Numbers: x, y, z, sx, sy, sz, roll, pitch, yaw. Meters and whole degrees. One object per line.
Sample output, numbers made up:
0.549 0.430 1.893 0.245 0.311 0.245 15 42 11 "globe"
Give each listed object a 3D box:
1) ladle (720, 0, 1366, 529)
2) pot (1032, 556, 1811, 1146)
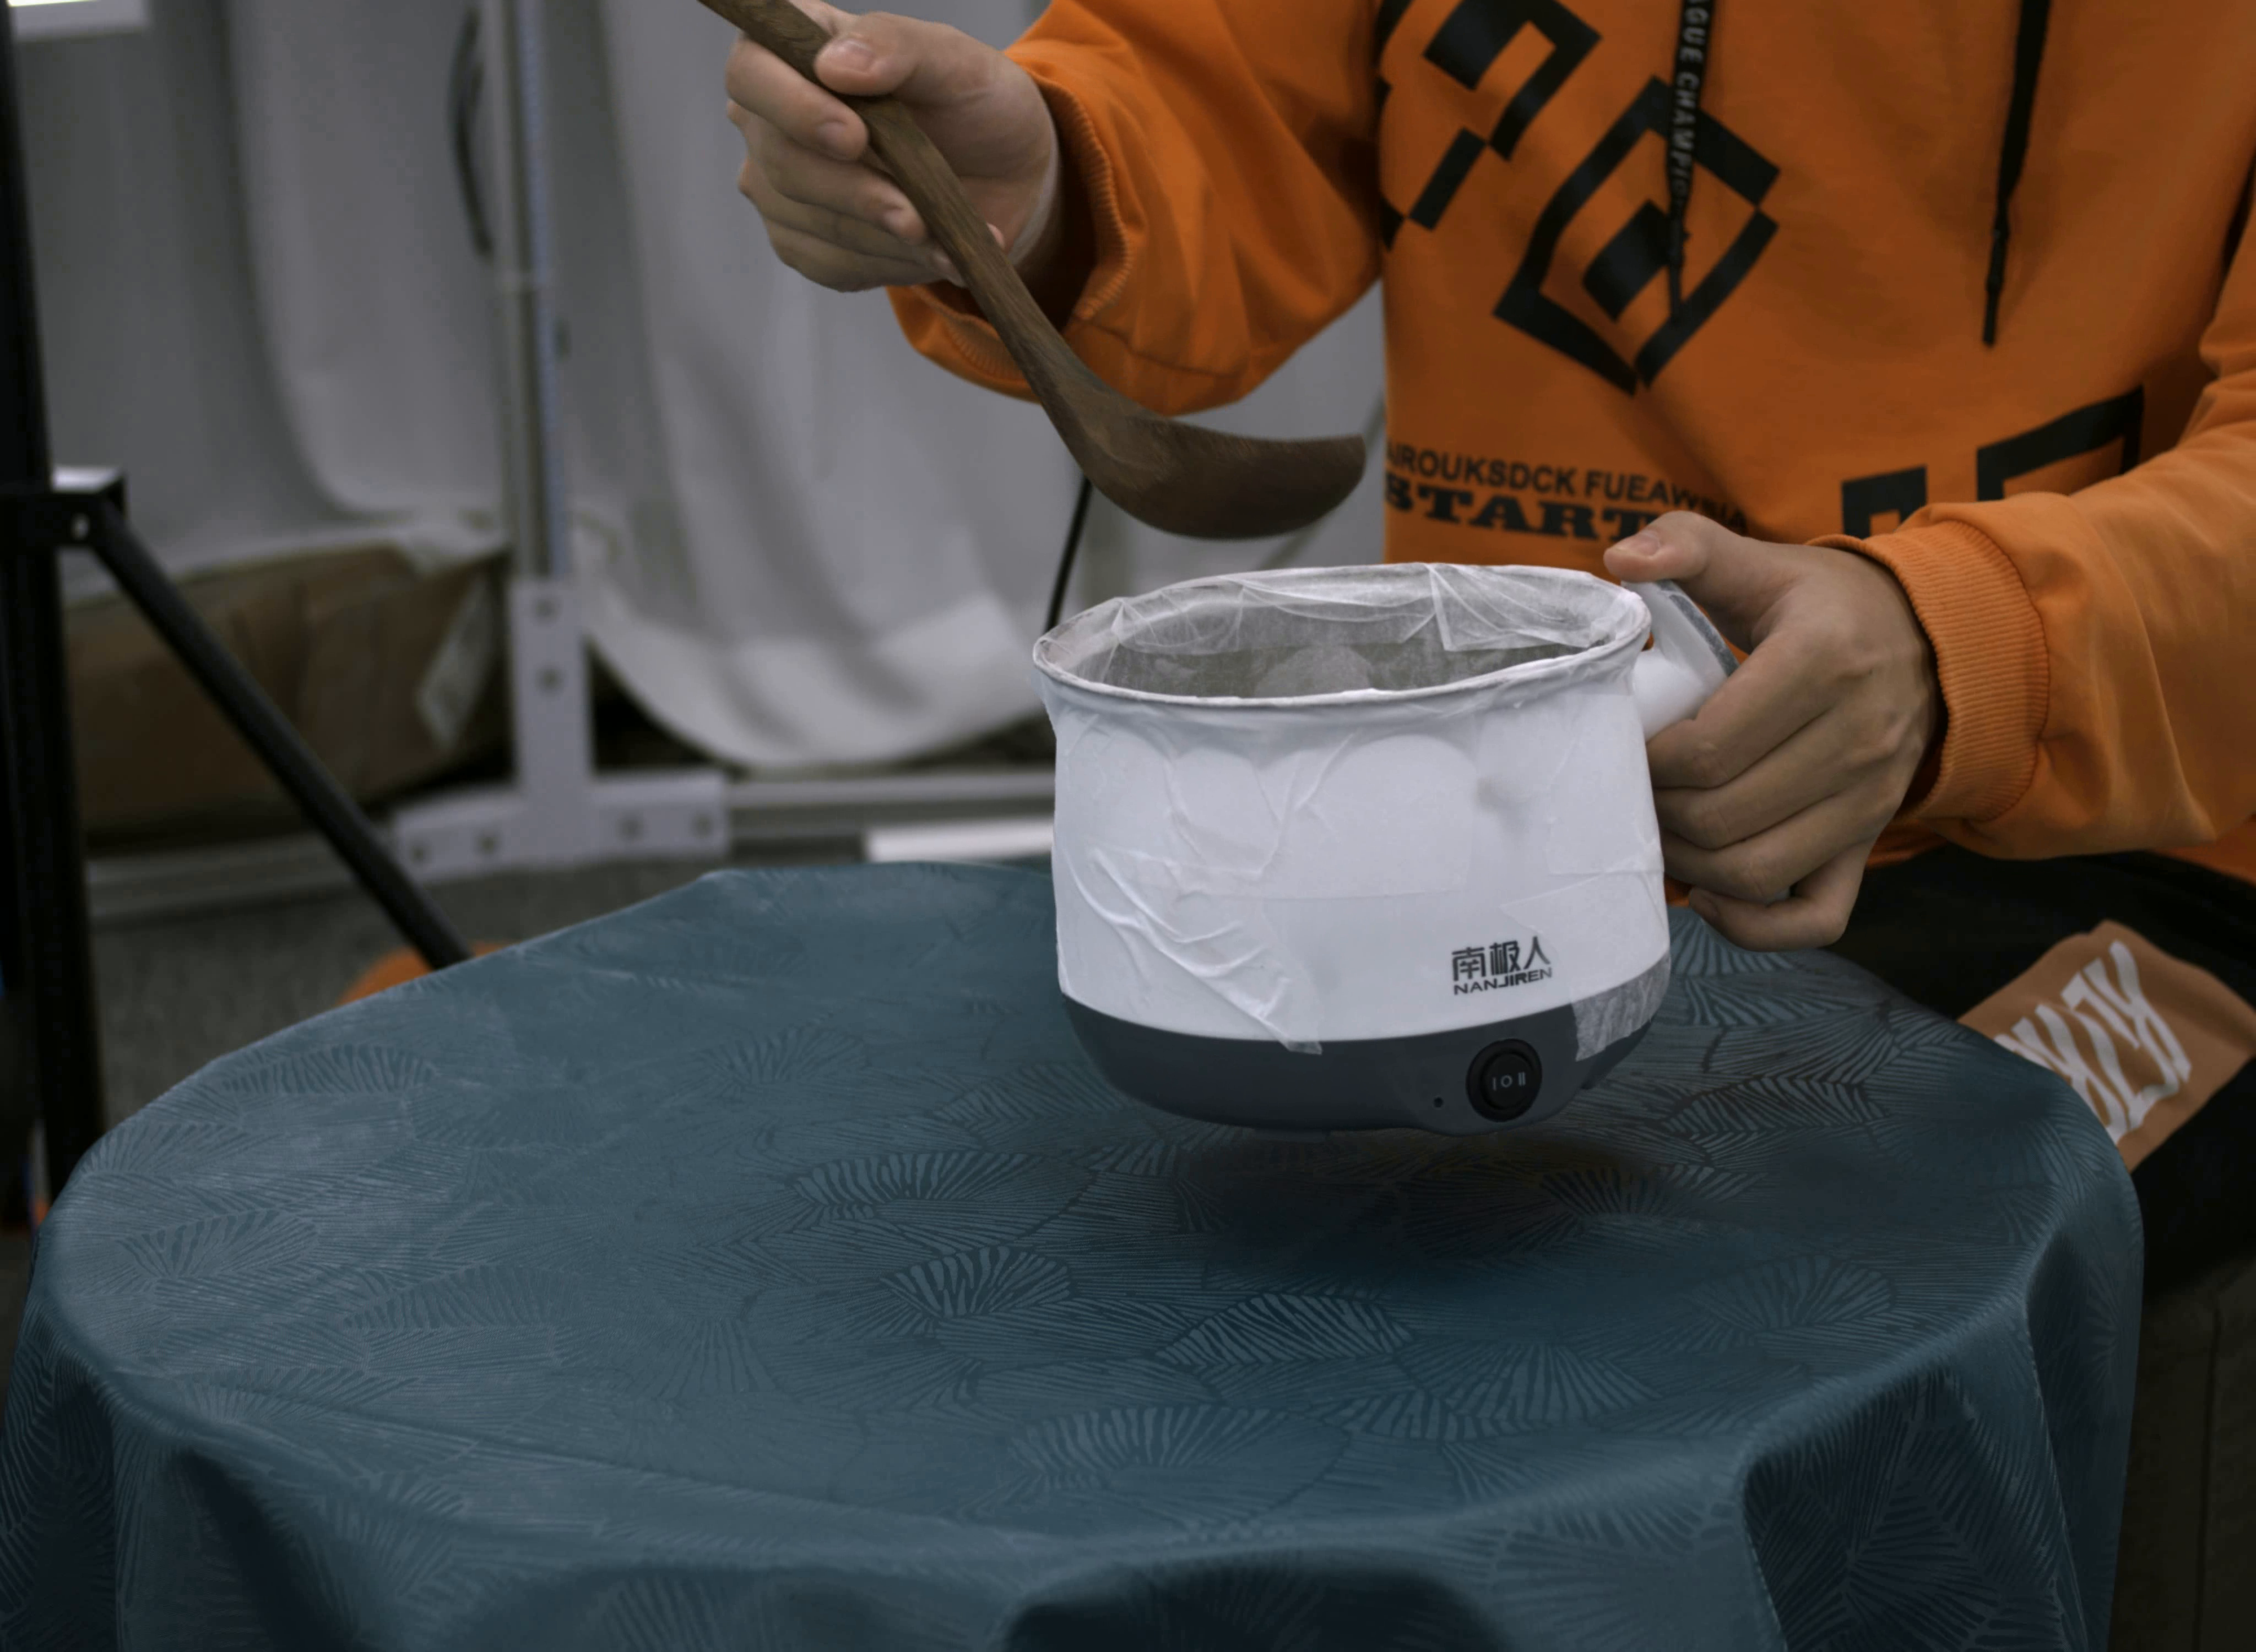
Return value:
-0.037 -0.185 1.545 0.278 0.072 0.074 51 29 19 "ladle"
0.090 0.000 1.532 0.229 0.136 0.182 -11 16 -23 "pot"
